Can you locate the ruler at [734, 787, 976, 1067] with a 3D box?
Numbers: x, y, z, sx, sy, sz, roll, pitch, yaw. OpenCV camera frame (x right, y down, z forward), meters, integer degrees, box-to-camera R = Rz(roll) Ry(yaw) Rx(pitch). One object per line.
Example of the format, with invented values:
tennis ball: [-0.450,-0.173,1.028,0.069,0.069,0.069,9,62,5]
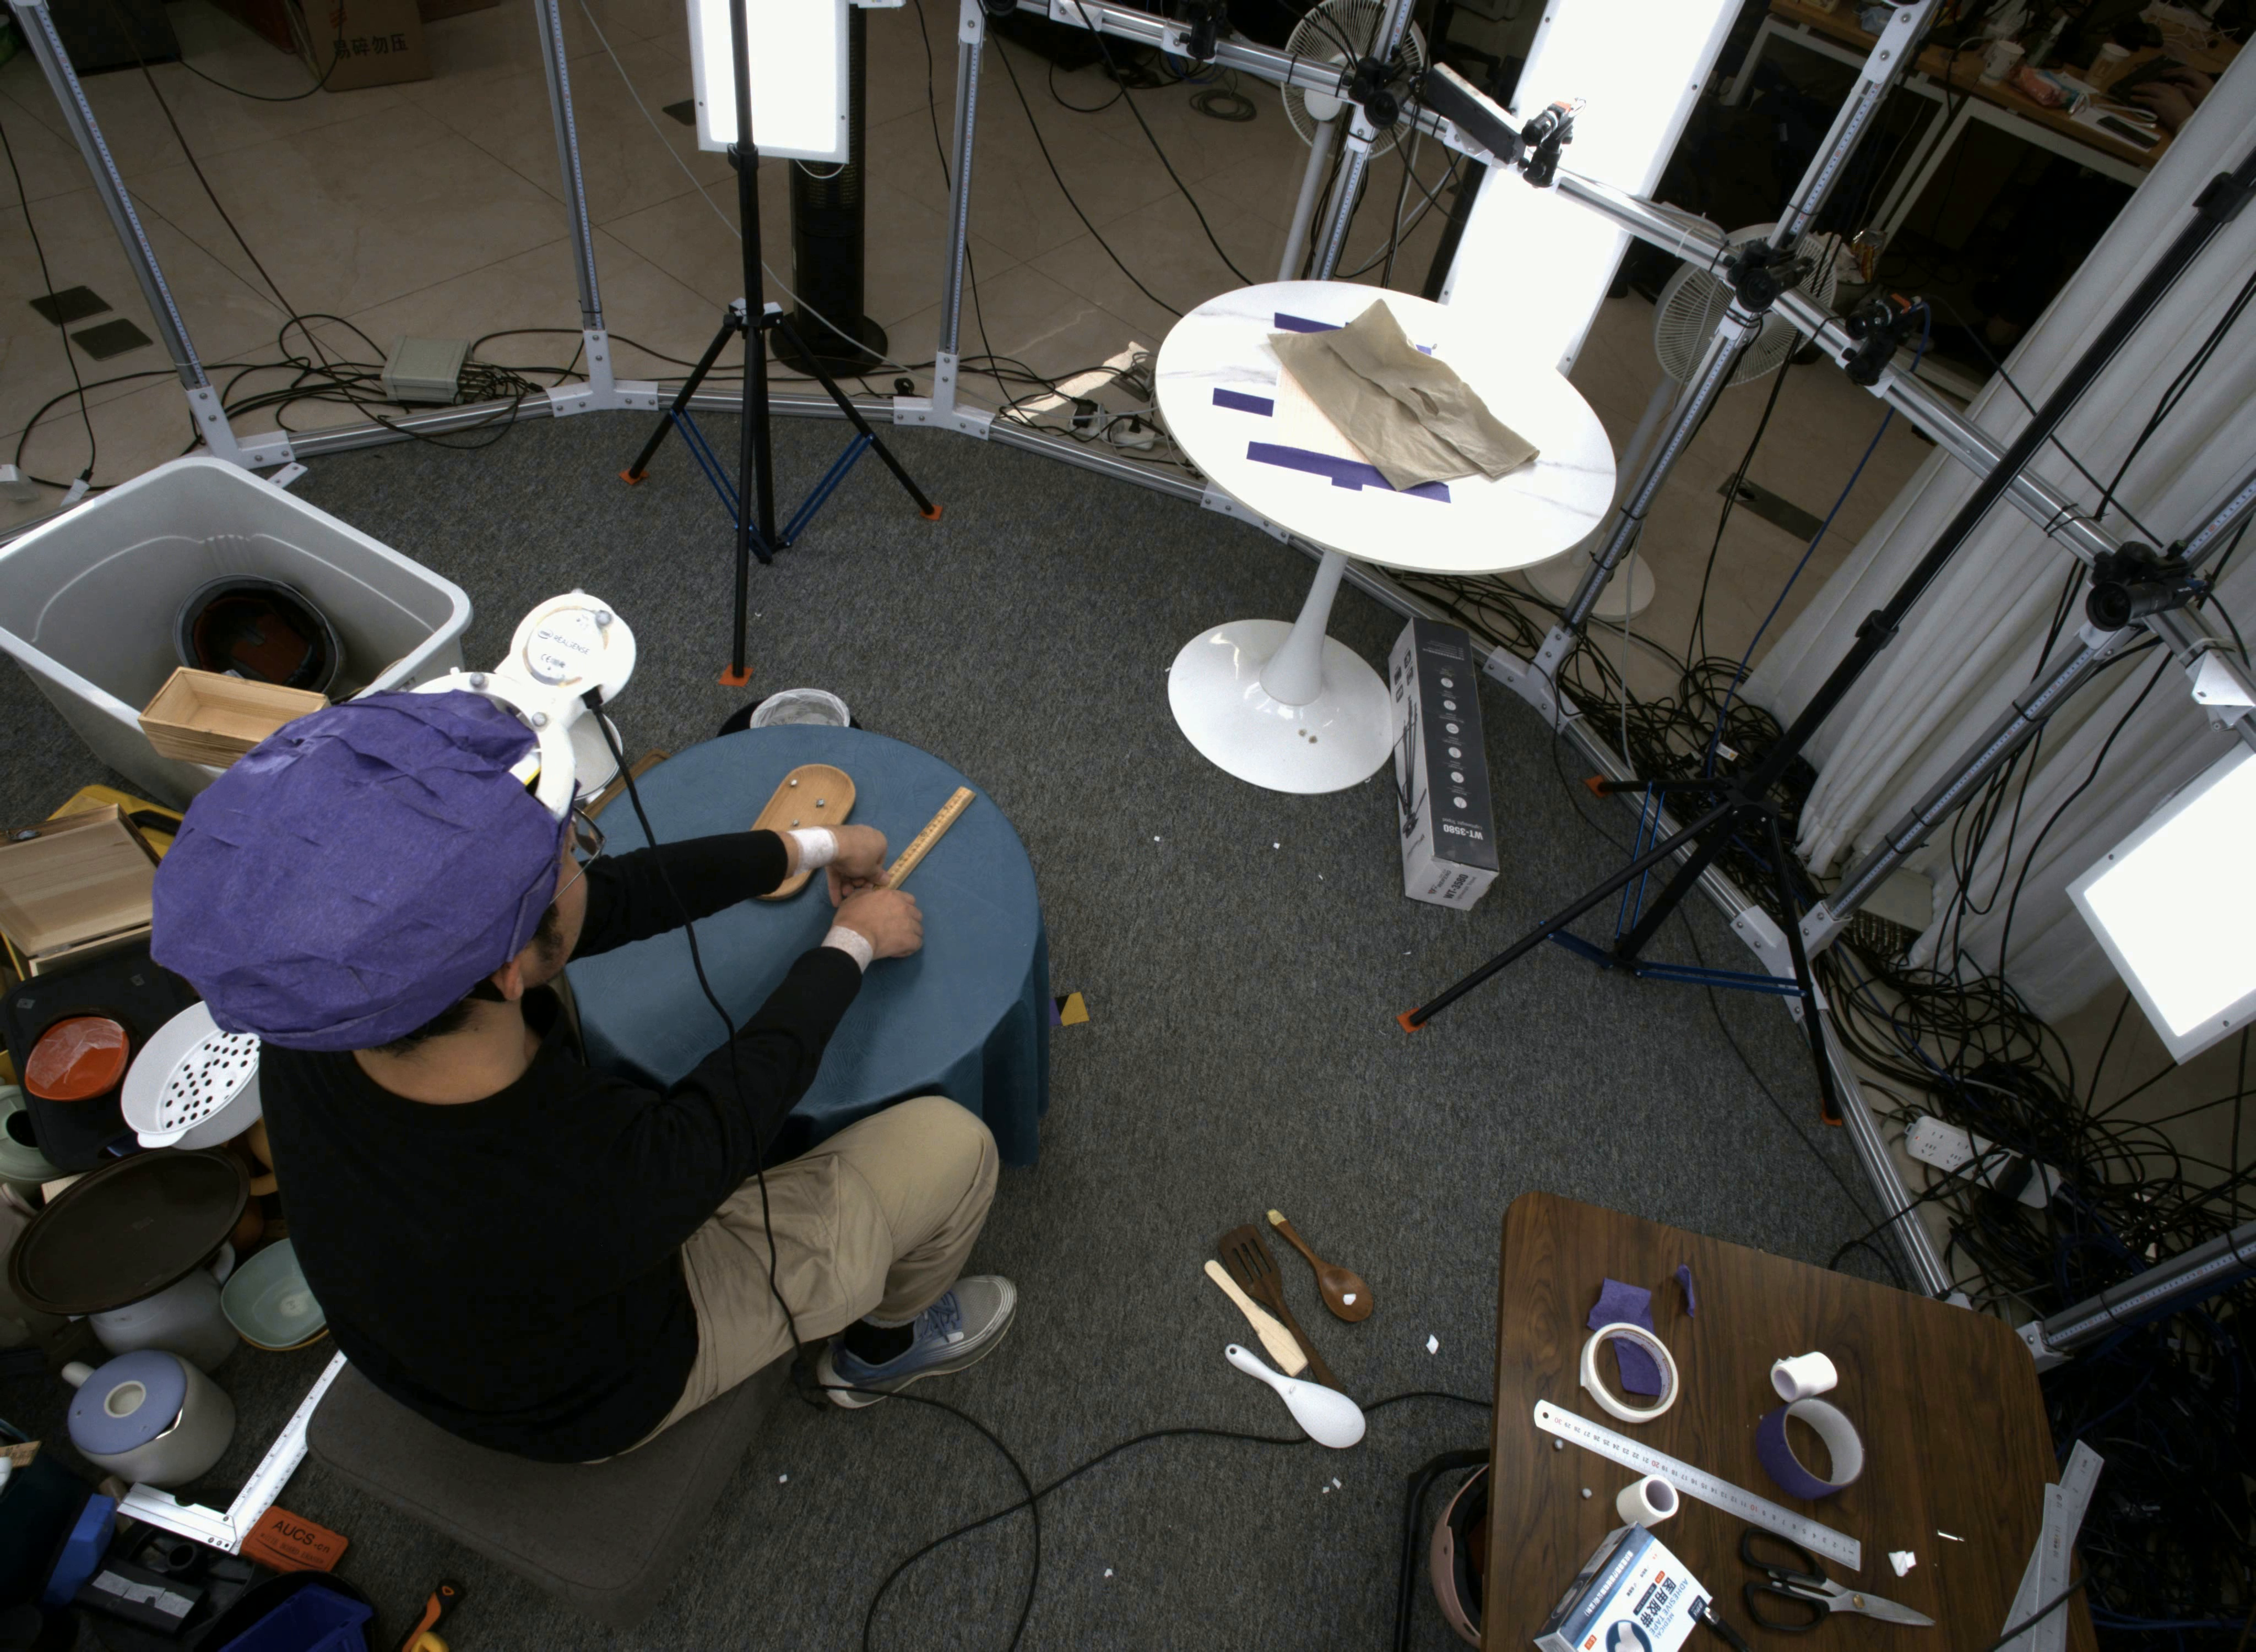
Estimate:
ruler: [-0.337,0.111,1.657,0.026,0.006,0.498,26,52,12]

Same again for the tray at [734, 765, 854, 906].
tray: [-0.435,0.009,1.699,0.100,0.021,0.229,18,53,1]
